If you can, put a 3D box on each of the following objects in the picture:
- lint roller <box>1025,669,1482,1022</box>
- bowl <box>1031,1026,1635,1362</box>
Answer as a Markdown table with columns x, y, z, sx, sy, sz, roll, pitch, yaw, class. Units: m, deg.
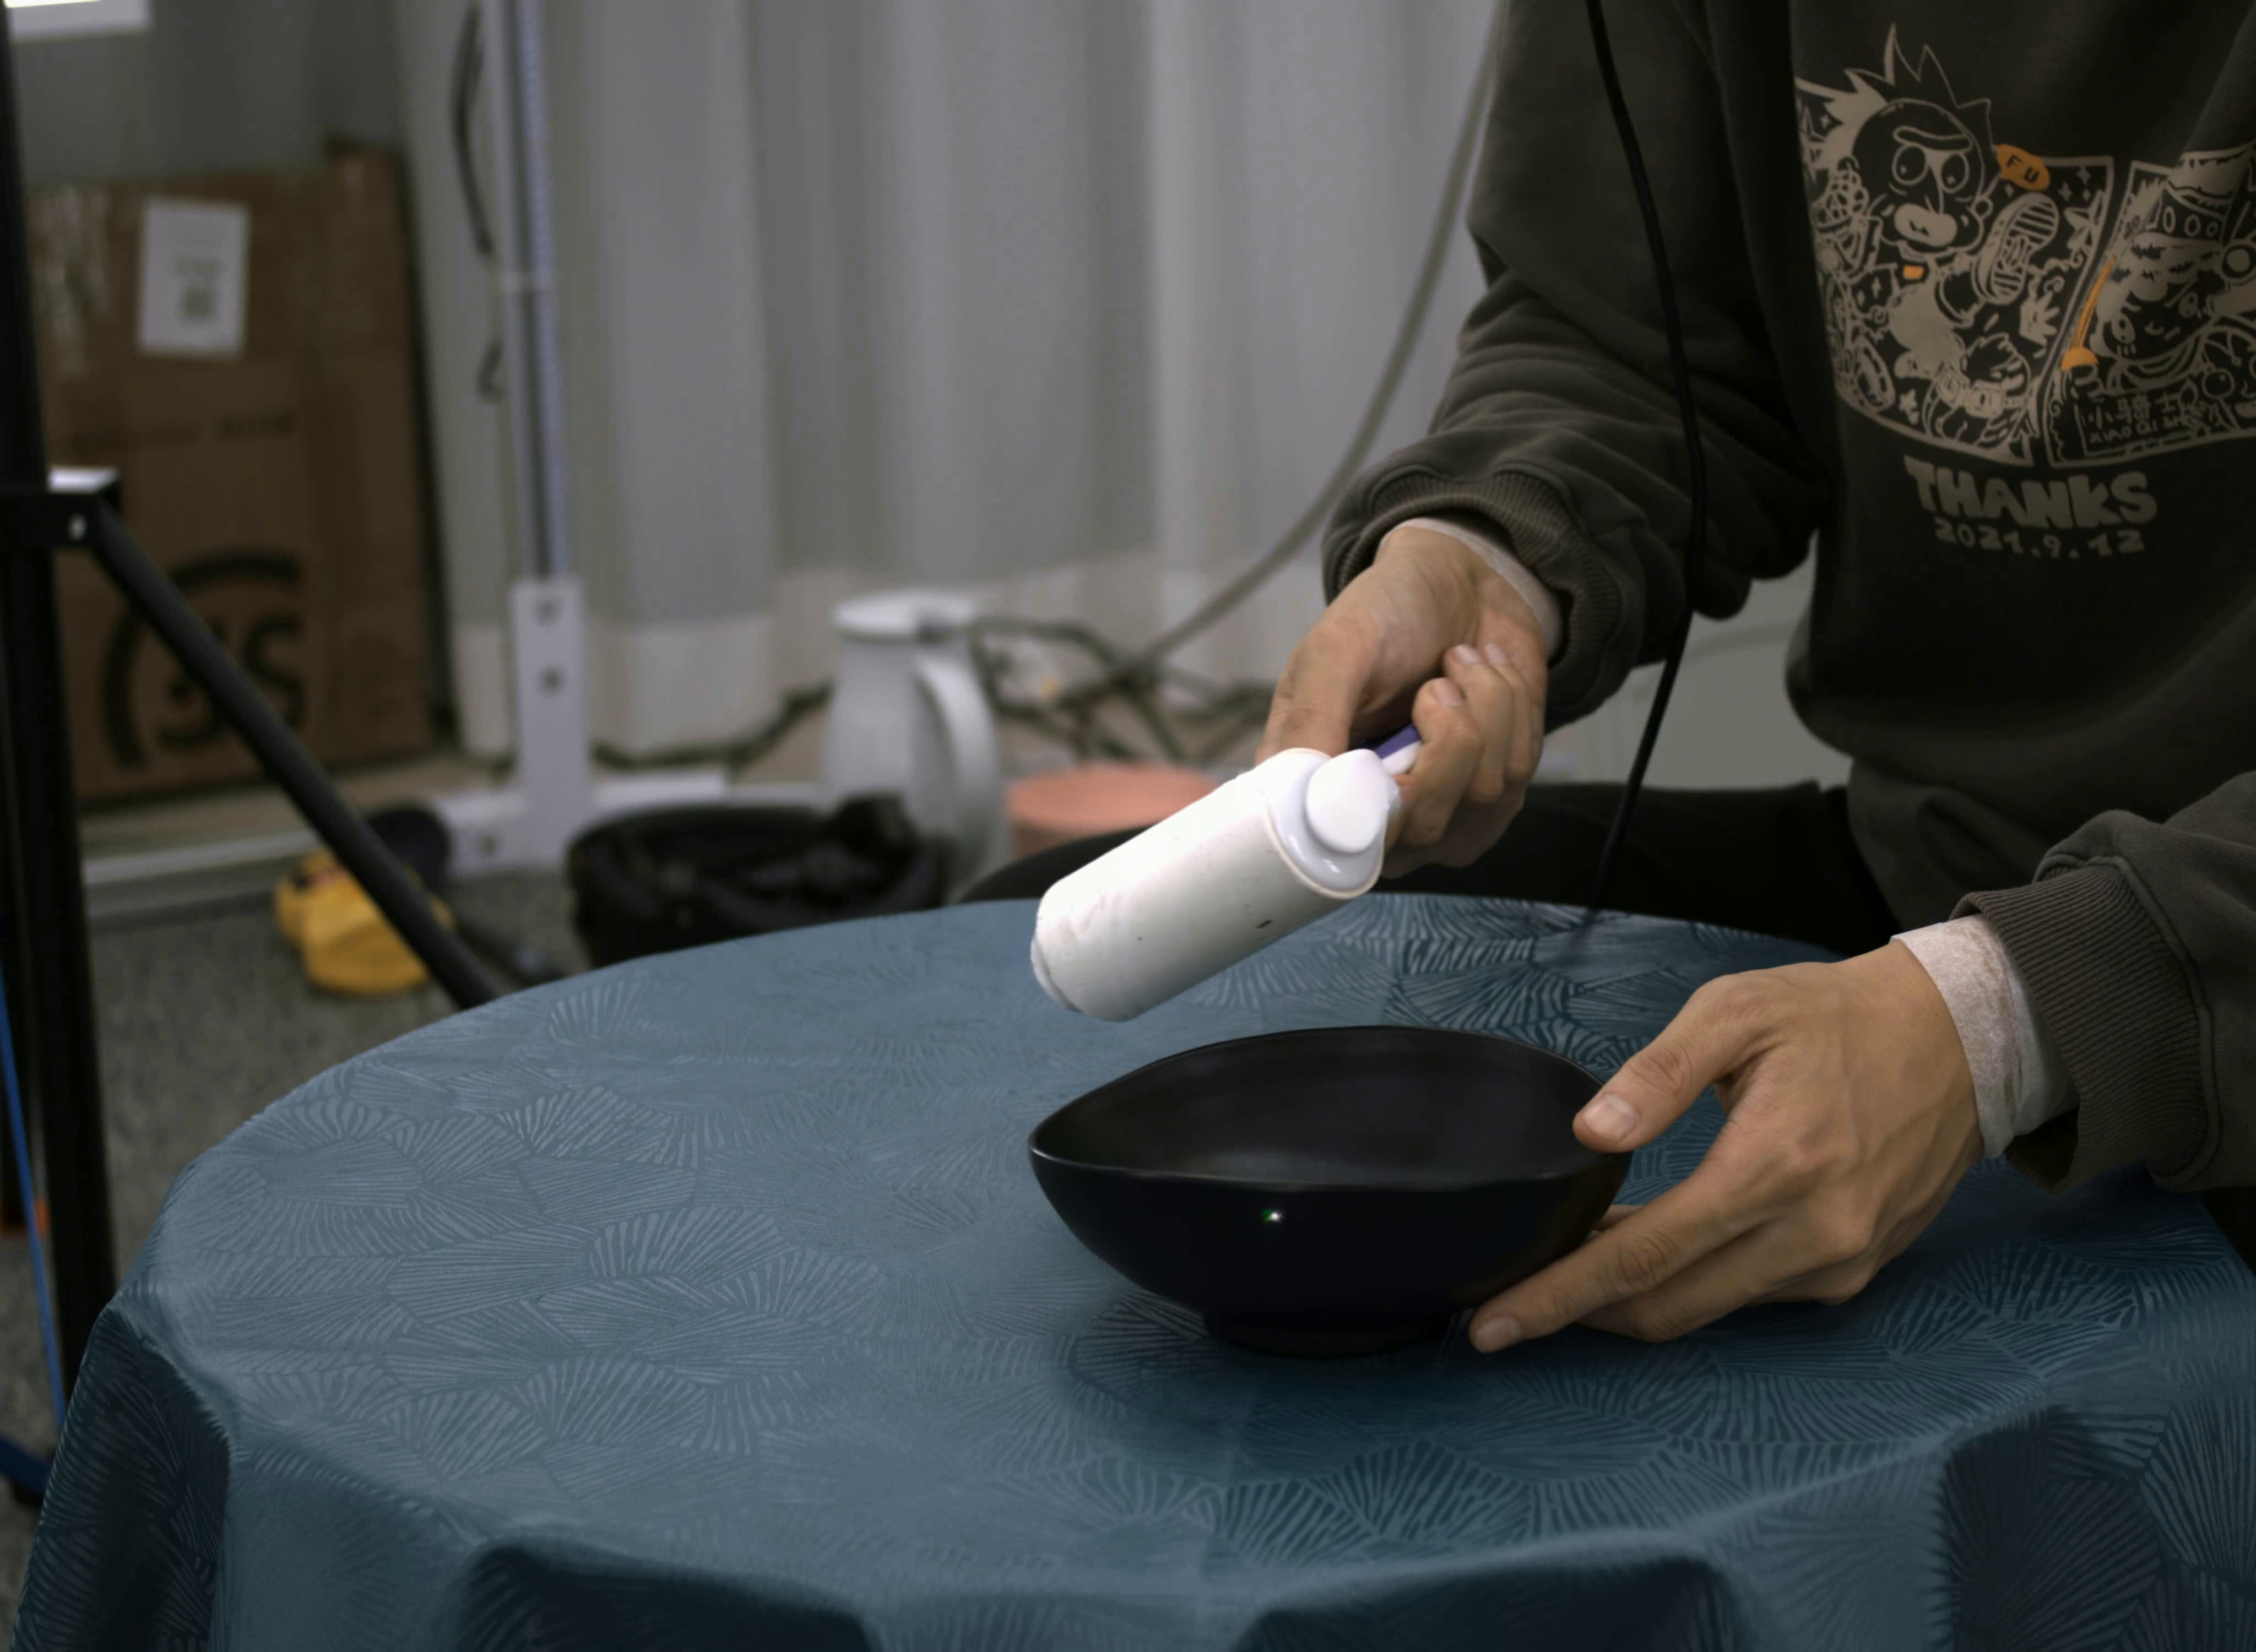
| x | y | z | sx | sy | sz | roll | pitch | yaw | class |
| --- | --- | --- | --- | --- | --- | --- | --- | --- | --- |
| 0.053 | -0.015 | 1.568 | 0.135 | 0.050 | 0.179 | -30 | 12 | 43 | lint roller |
| 0.055 | 0.105 | 1.447 | 0.172 | 0.067 | 0.136 | 1 | 15 | 19 | bowl |
